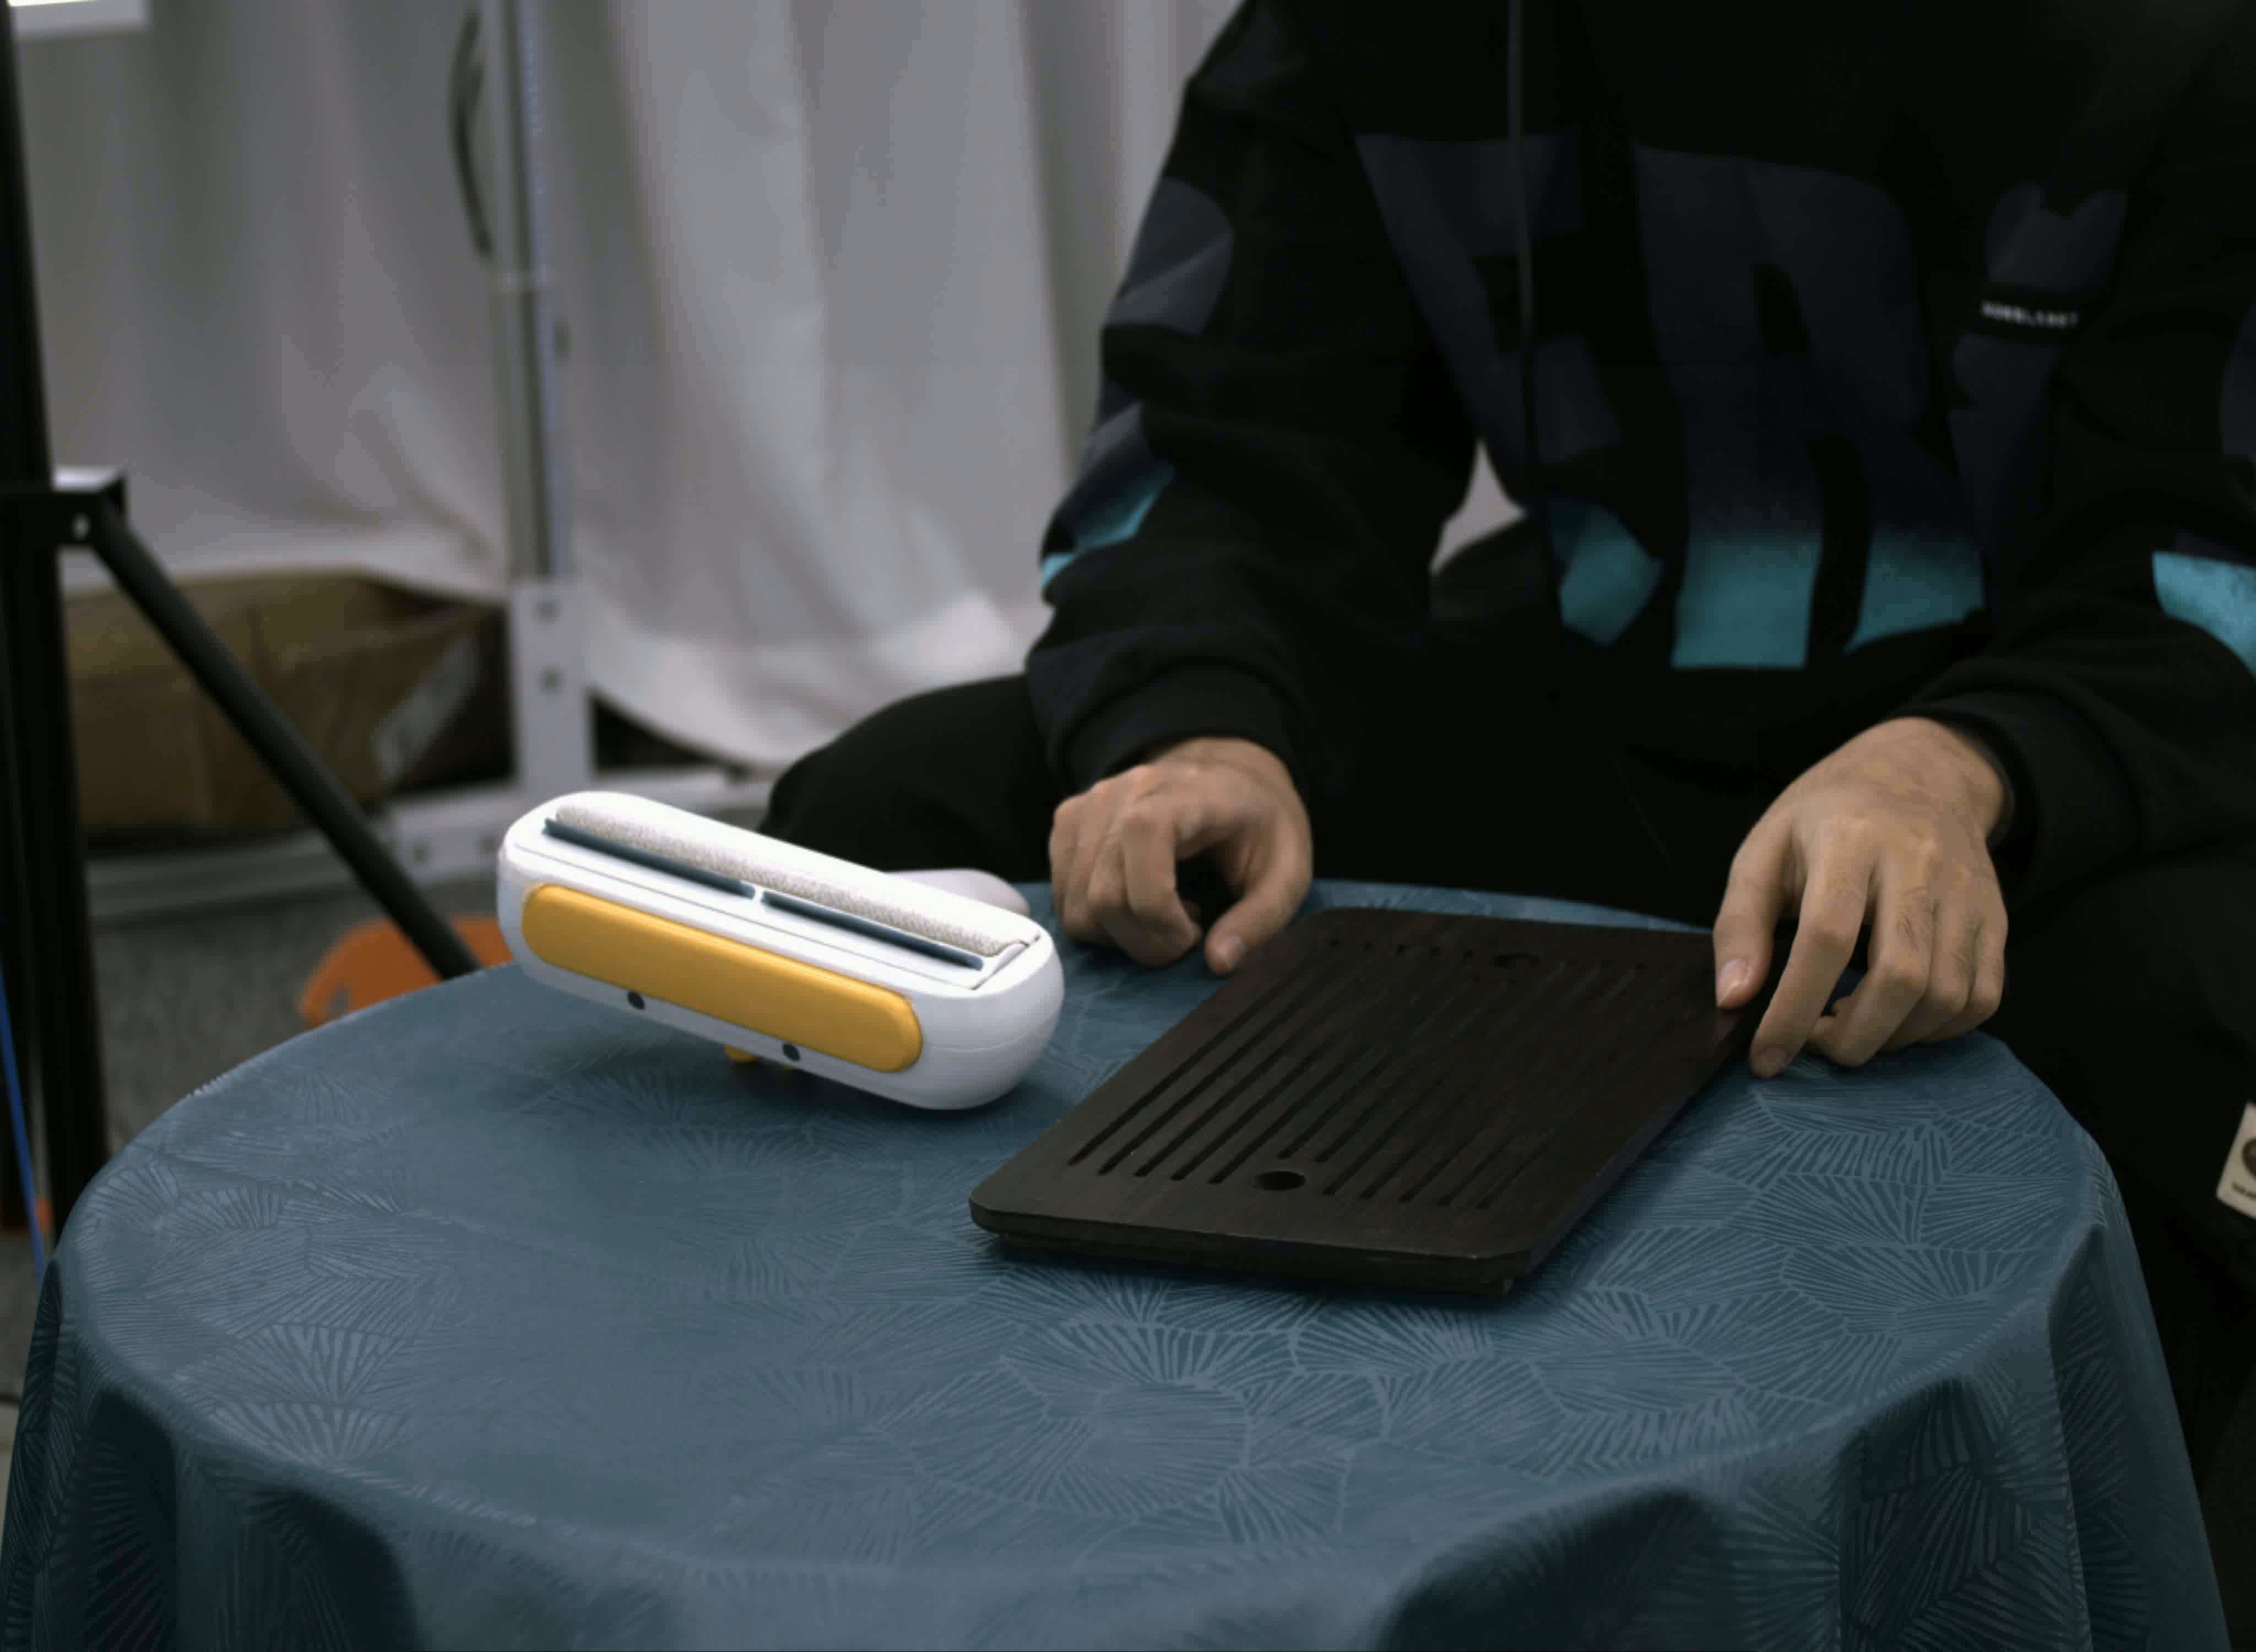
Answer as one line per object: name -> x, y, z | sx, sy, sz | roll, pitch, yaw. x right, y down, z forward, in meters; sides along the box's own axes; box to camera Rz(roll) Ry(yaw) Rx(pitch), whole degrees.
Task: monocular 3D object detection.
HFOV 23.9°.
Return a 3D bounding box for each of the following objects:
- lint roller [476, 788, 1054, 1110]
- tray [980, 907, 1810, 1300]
lint roller -> -0.087, 0.031, 1.723 | 0.196, 0.074, 0.188 | 13, 20, 31
tray -> 0.089, 0.081, 1.606 | 0.172, 0.018, 0.302 | 4, 17, 23
